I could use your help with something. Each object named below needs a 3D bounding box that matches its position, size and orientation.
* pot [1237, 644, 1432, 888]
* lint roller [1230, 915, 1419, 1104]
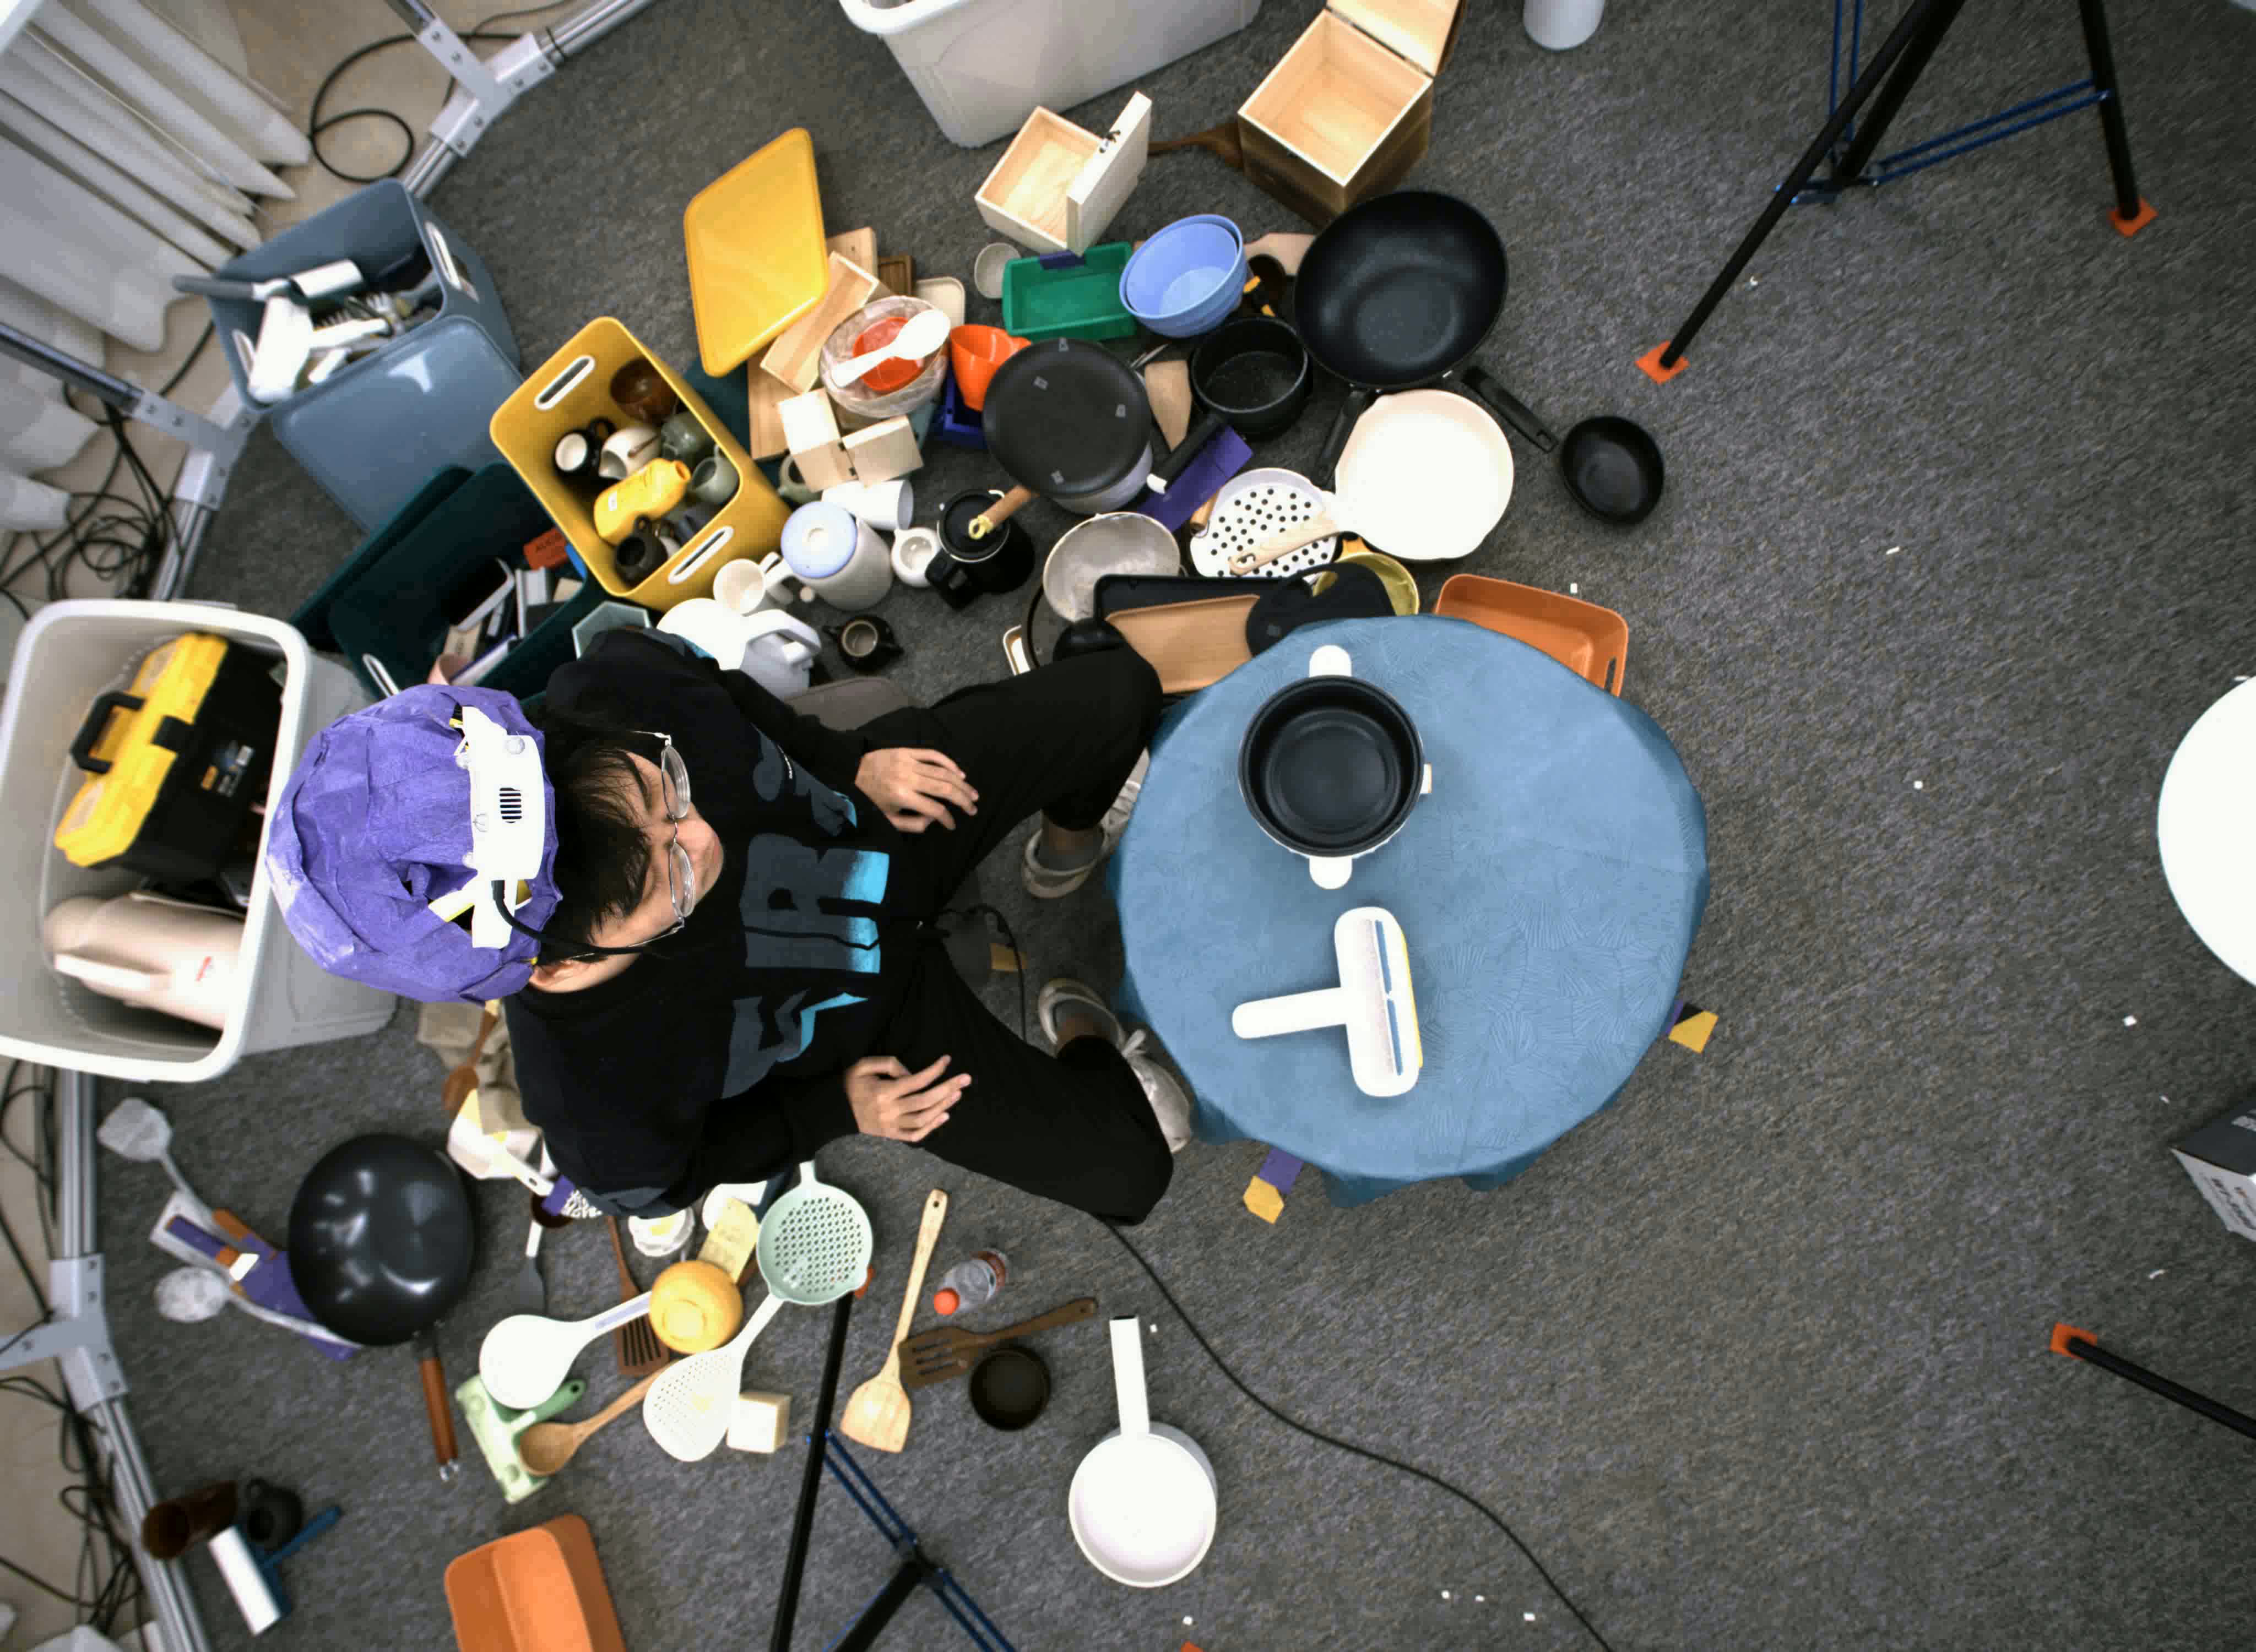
[{"bbox_3d":[0.212,-0.056,1.401,0.191,0.142,0.239,-1,88,13],"label":"pot"},{"bbox_3d":[0.198,0.191,1.429,0.193,0.074,0.191,-5,80,12],"label":"lint roller"}]
